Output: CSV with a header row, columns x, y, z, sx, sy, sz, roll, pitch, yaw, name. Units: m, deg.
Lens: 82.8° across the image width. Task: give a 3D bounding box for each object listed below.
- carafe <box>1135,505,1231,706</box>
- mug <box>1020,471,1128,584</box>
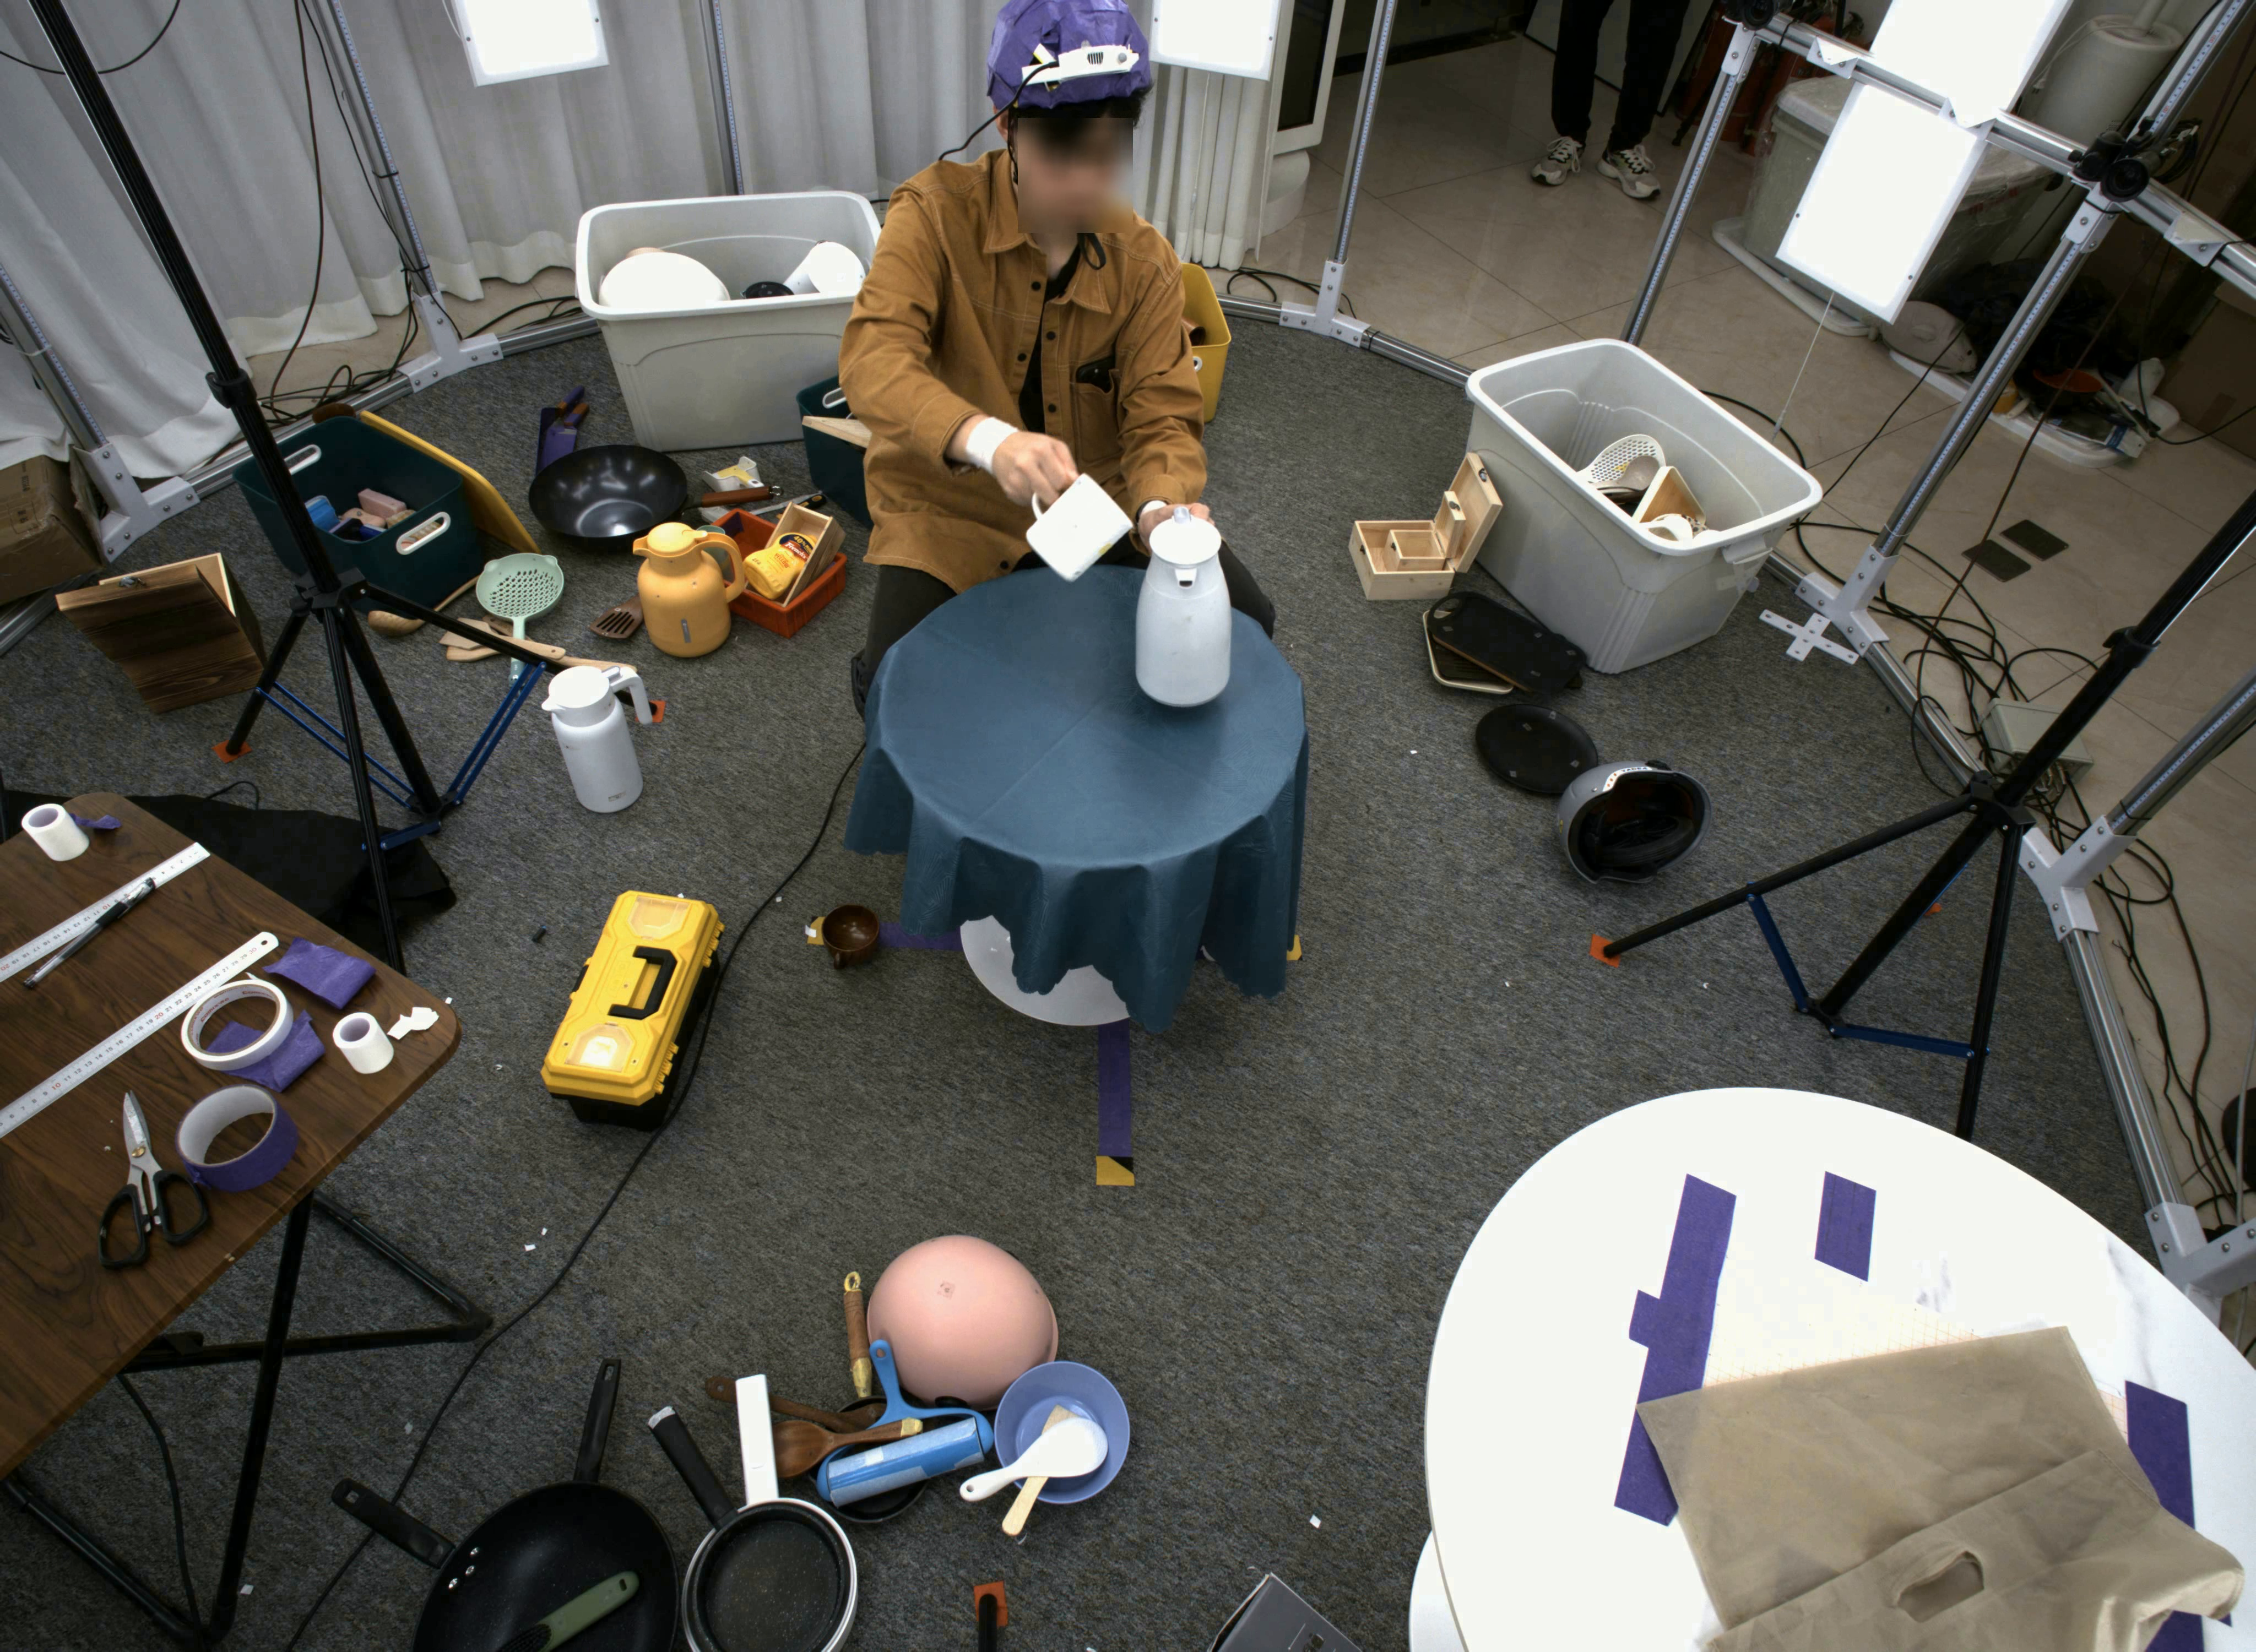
x,y,z,sx,sy,sz,roll,pitch,yaw,name
0.072,-0.306,1.725,0.132,0.242,0.172,-2,50,1,carafe
-0.076,-0.363,1.537,0.101,0.084,0.119,-44,77,13,mug
